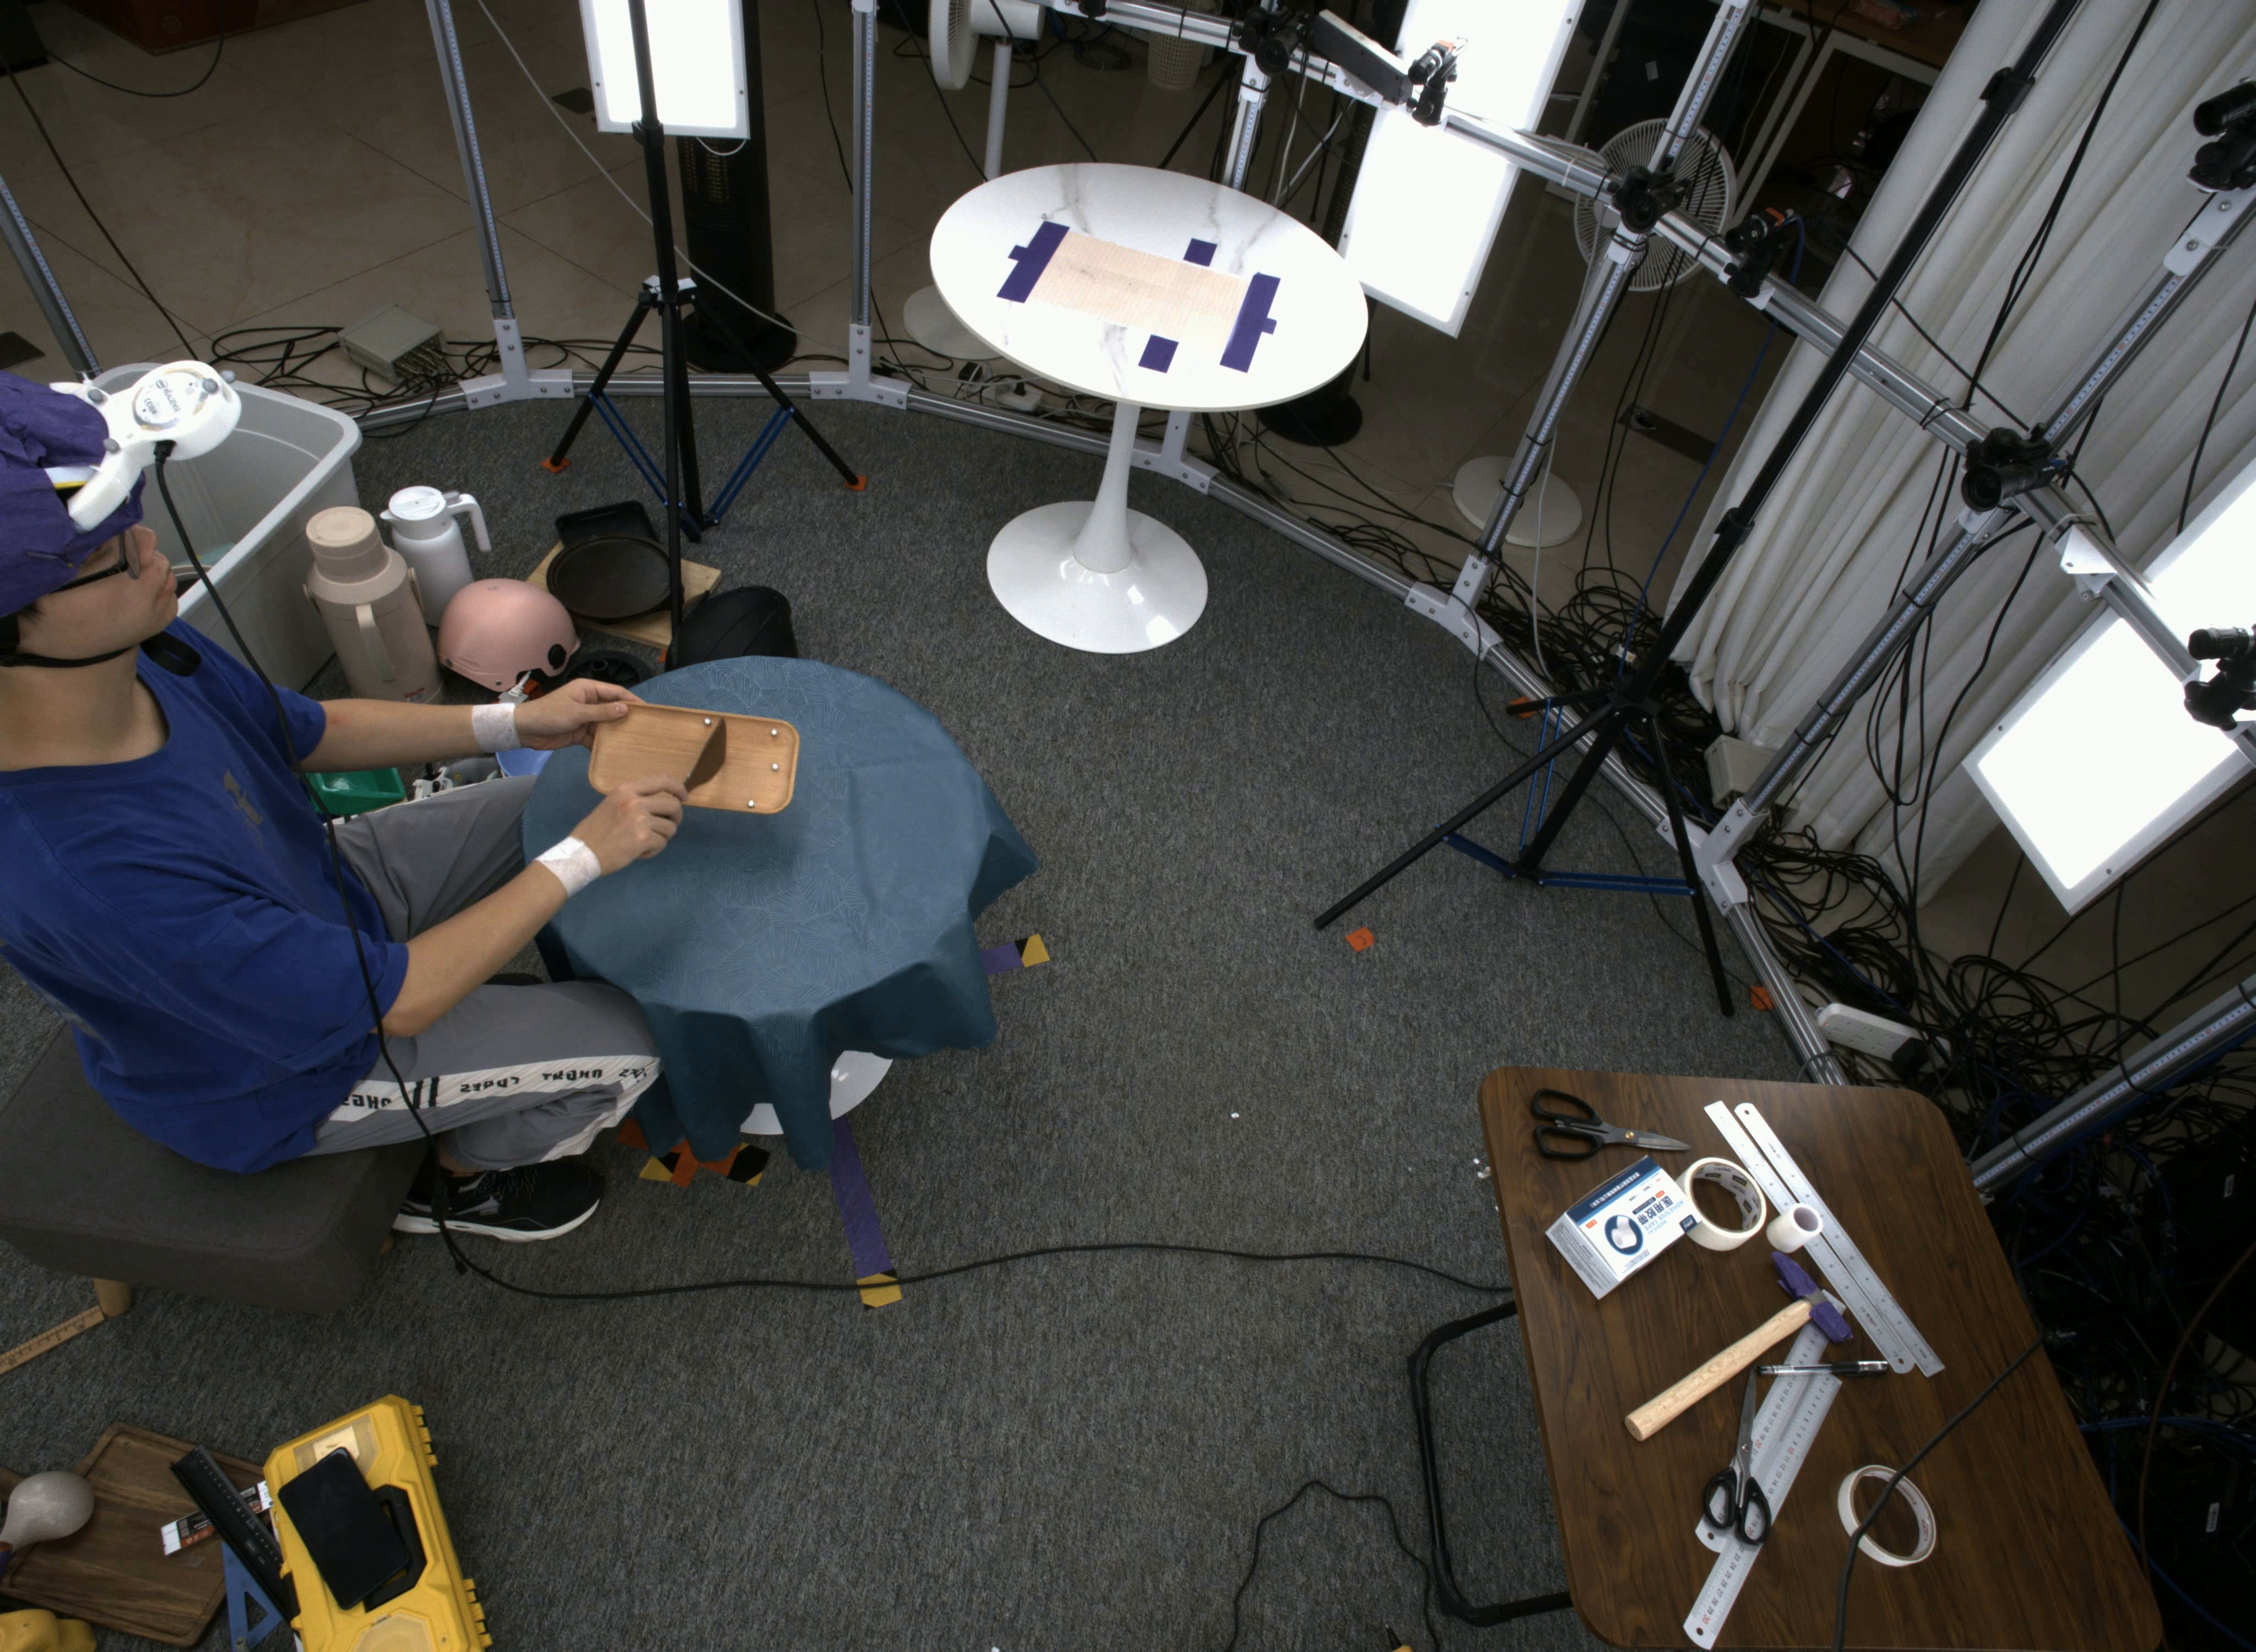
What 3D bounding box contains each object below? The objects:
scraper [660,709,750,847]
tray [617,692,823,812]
[{"bbox_3d":[-0.507,-0.054,1.553,0.010,0.077,0.209,20,48,5],"label":"scraper"},{"bbox_3d":[-0.518,-0.093,1.635,0.251,0.023,0.130,9,72,-11],"label":"tray"}]
